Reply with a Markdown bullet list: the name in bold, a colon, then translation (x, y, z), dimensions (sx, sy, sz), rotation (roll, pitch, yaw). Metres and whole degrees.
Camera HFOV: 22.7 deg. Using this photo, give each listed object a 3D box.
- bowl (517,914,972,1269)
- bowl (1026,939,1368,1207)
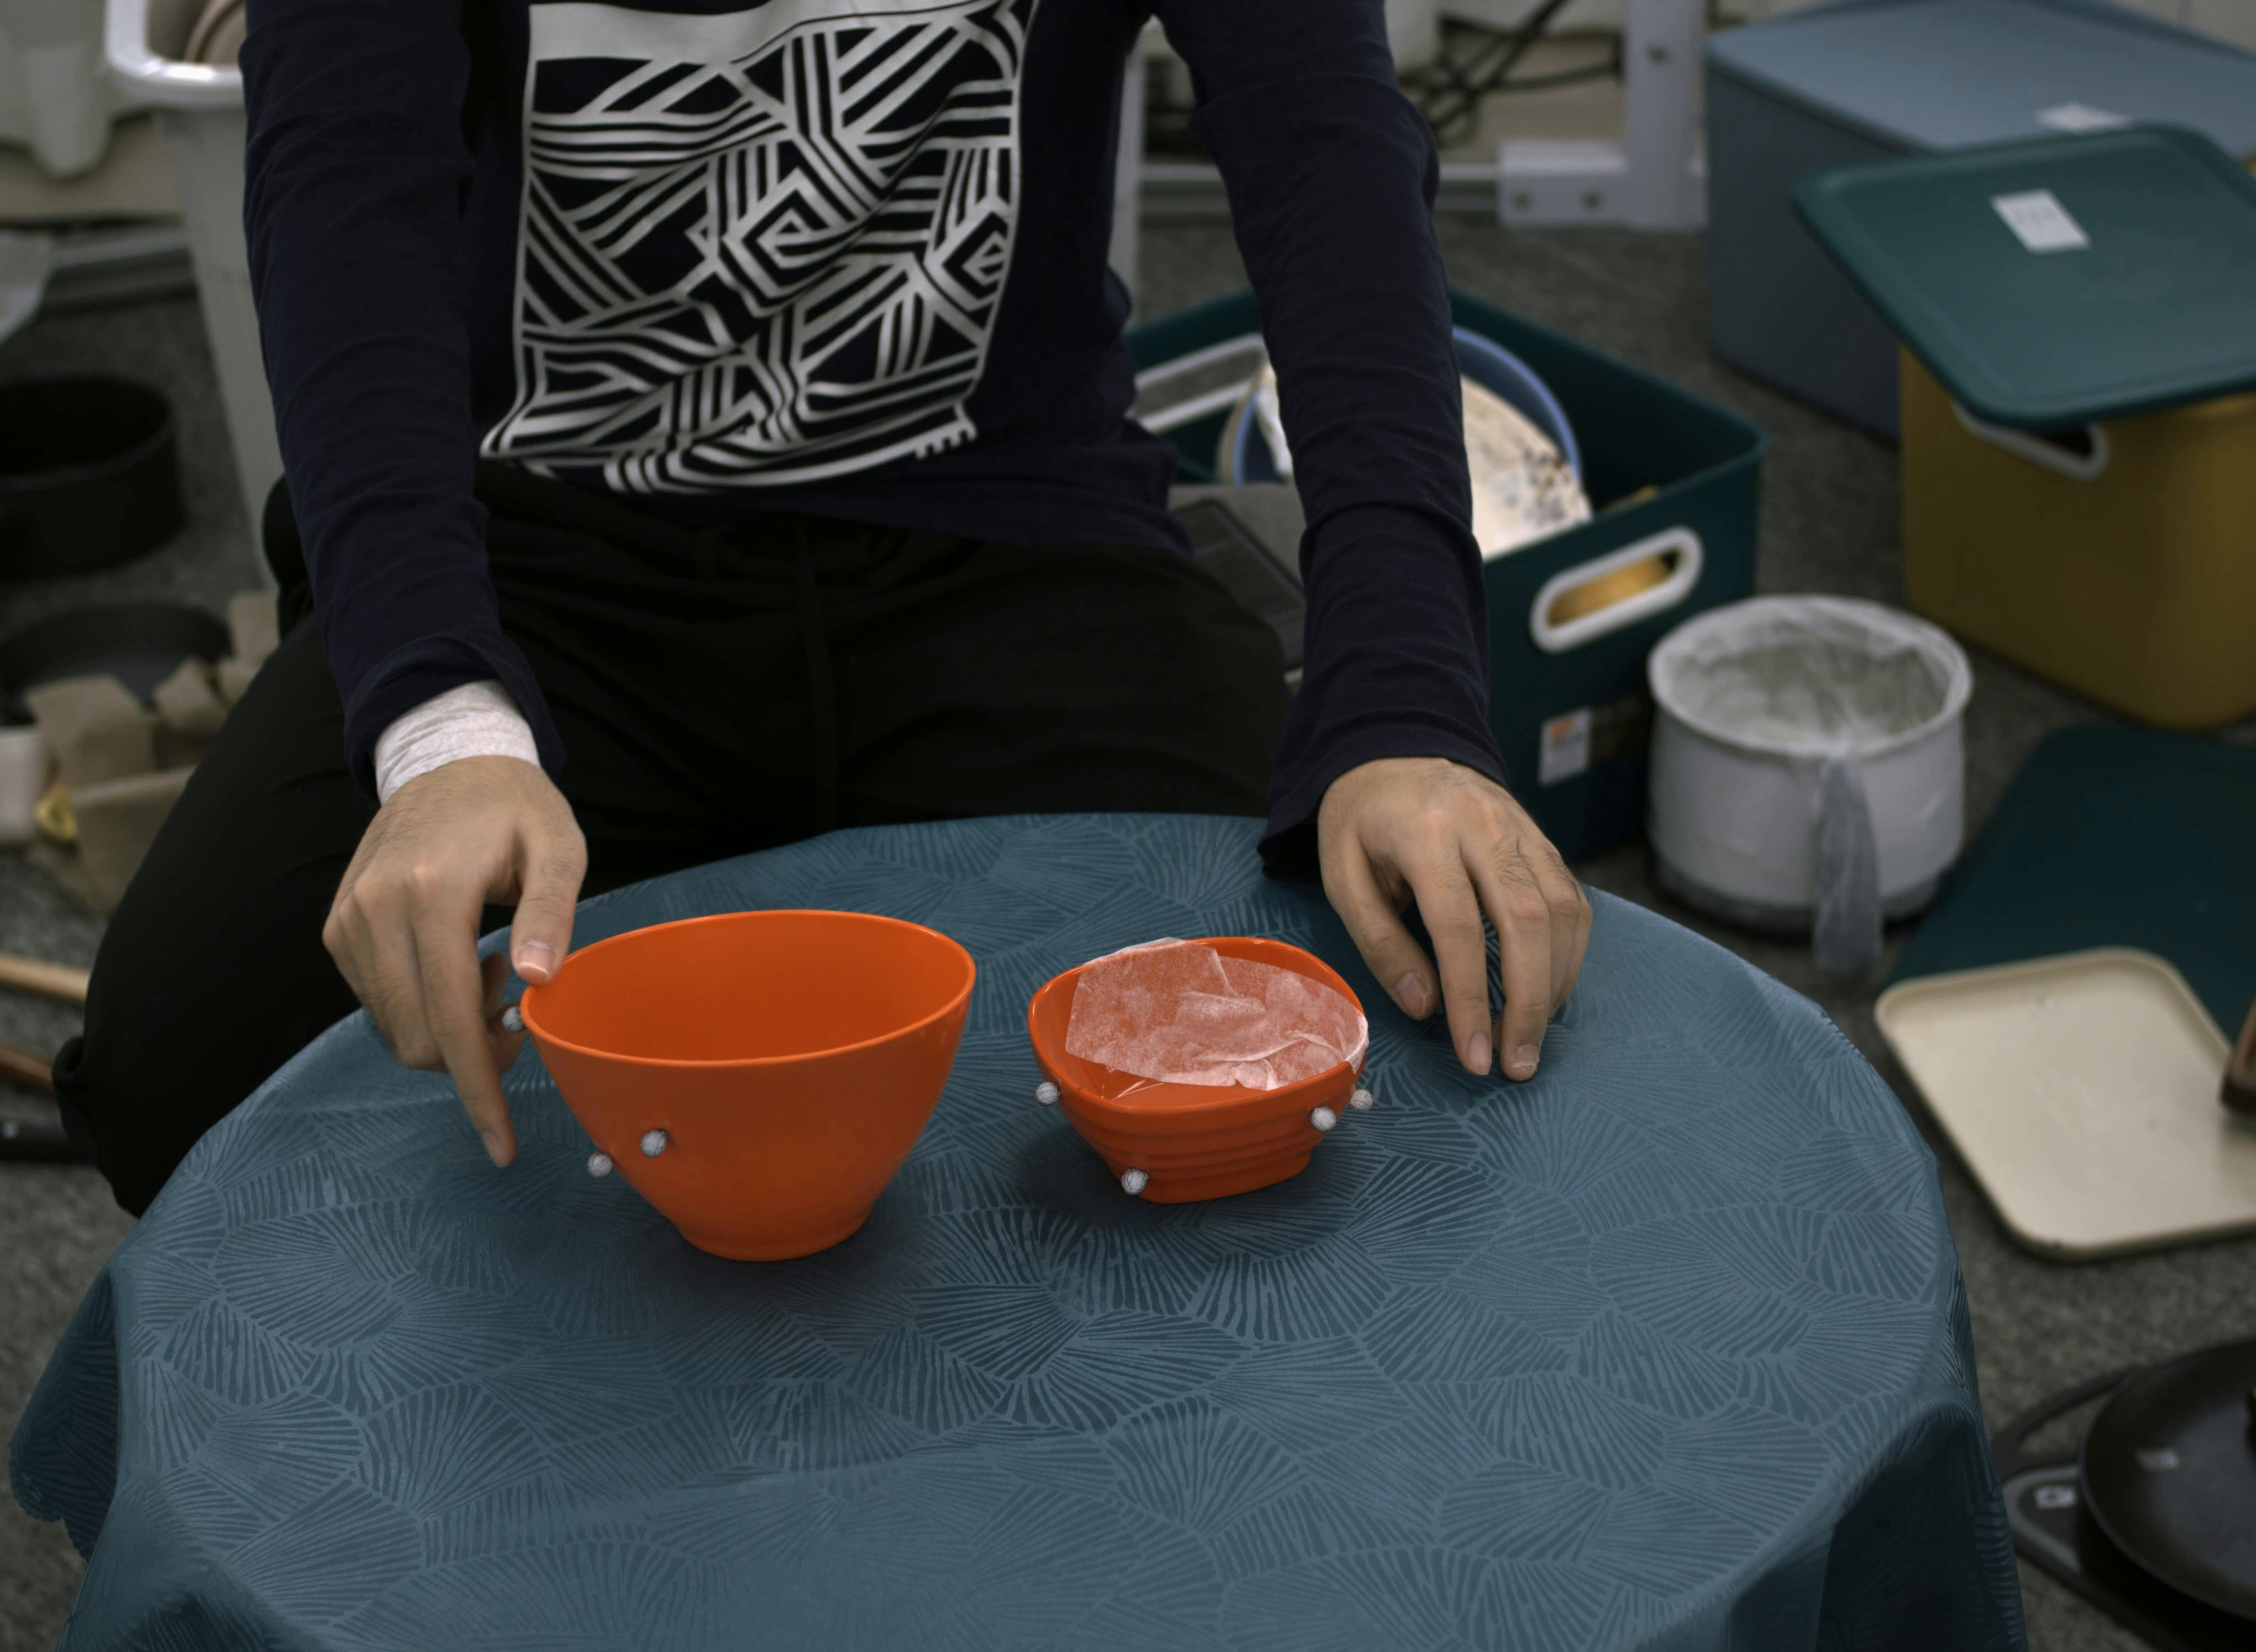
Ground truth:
- **bowl**: translation (-0.121, 0.090, 1.829), dimensions (0.147, 0.103, 0.150), rotation (-3, 26, 2)
- **bowl**: translation (0.024, 0.087, 1.875), dimensions (0.118, 0.051, 0.120), rotation (-4, 26, 2)
